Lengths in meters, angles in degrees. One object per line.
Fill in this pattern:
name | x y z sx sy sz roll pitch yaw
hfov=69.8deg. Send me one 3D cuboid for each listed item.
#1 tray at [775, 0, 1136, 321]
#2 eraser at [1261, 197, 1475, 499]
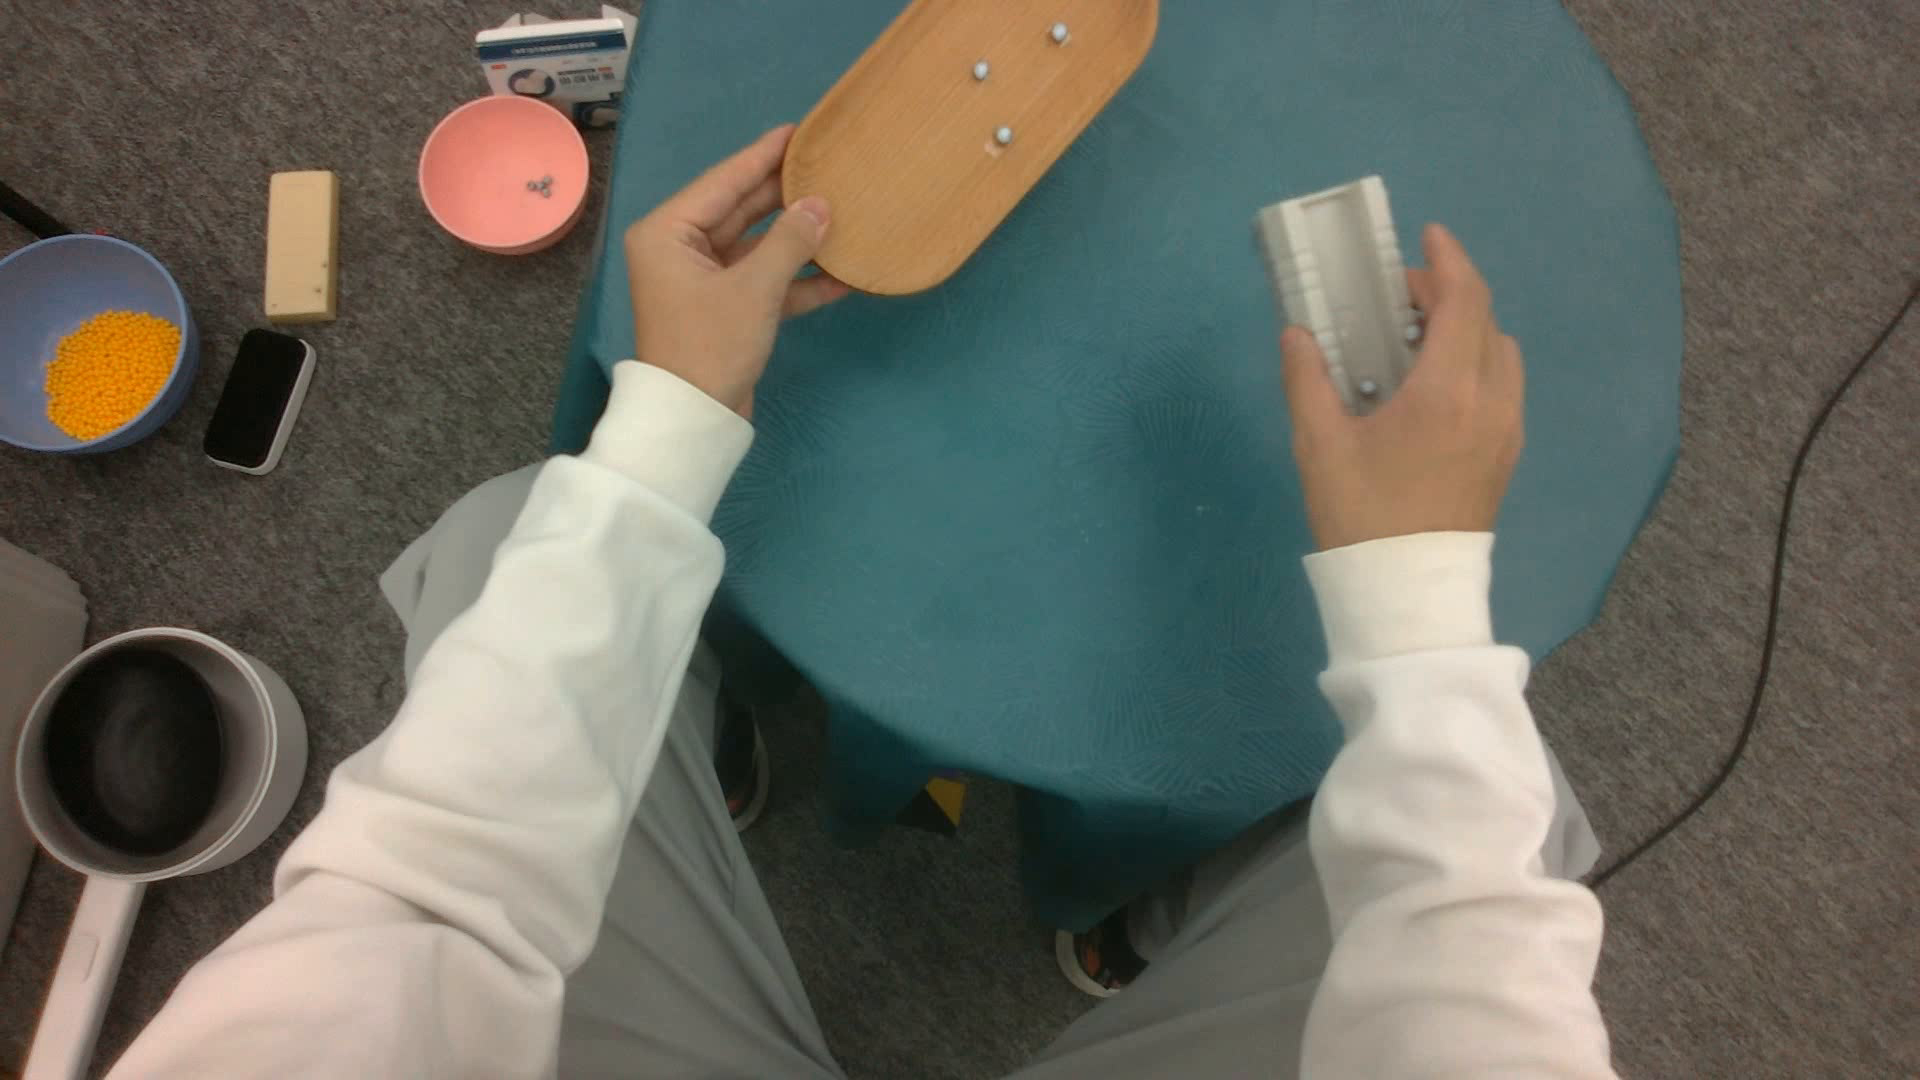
tray | 0.000 -0.208 0.699 0.101 0.020 0.231 41 80 -6
eraser | 0.194 -0.090 0.662 0.050 0.046 0.134 -21 91 -2
